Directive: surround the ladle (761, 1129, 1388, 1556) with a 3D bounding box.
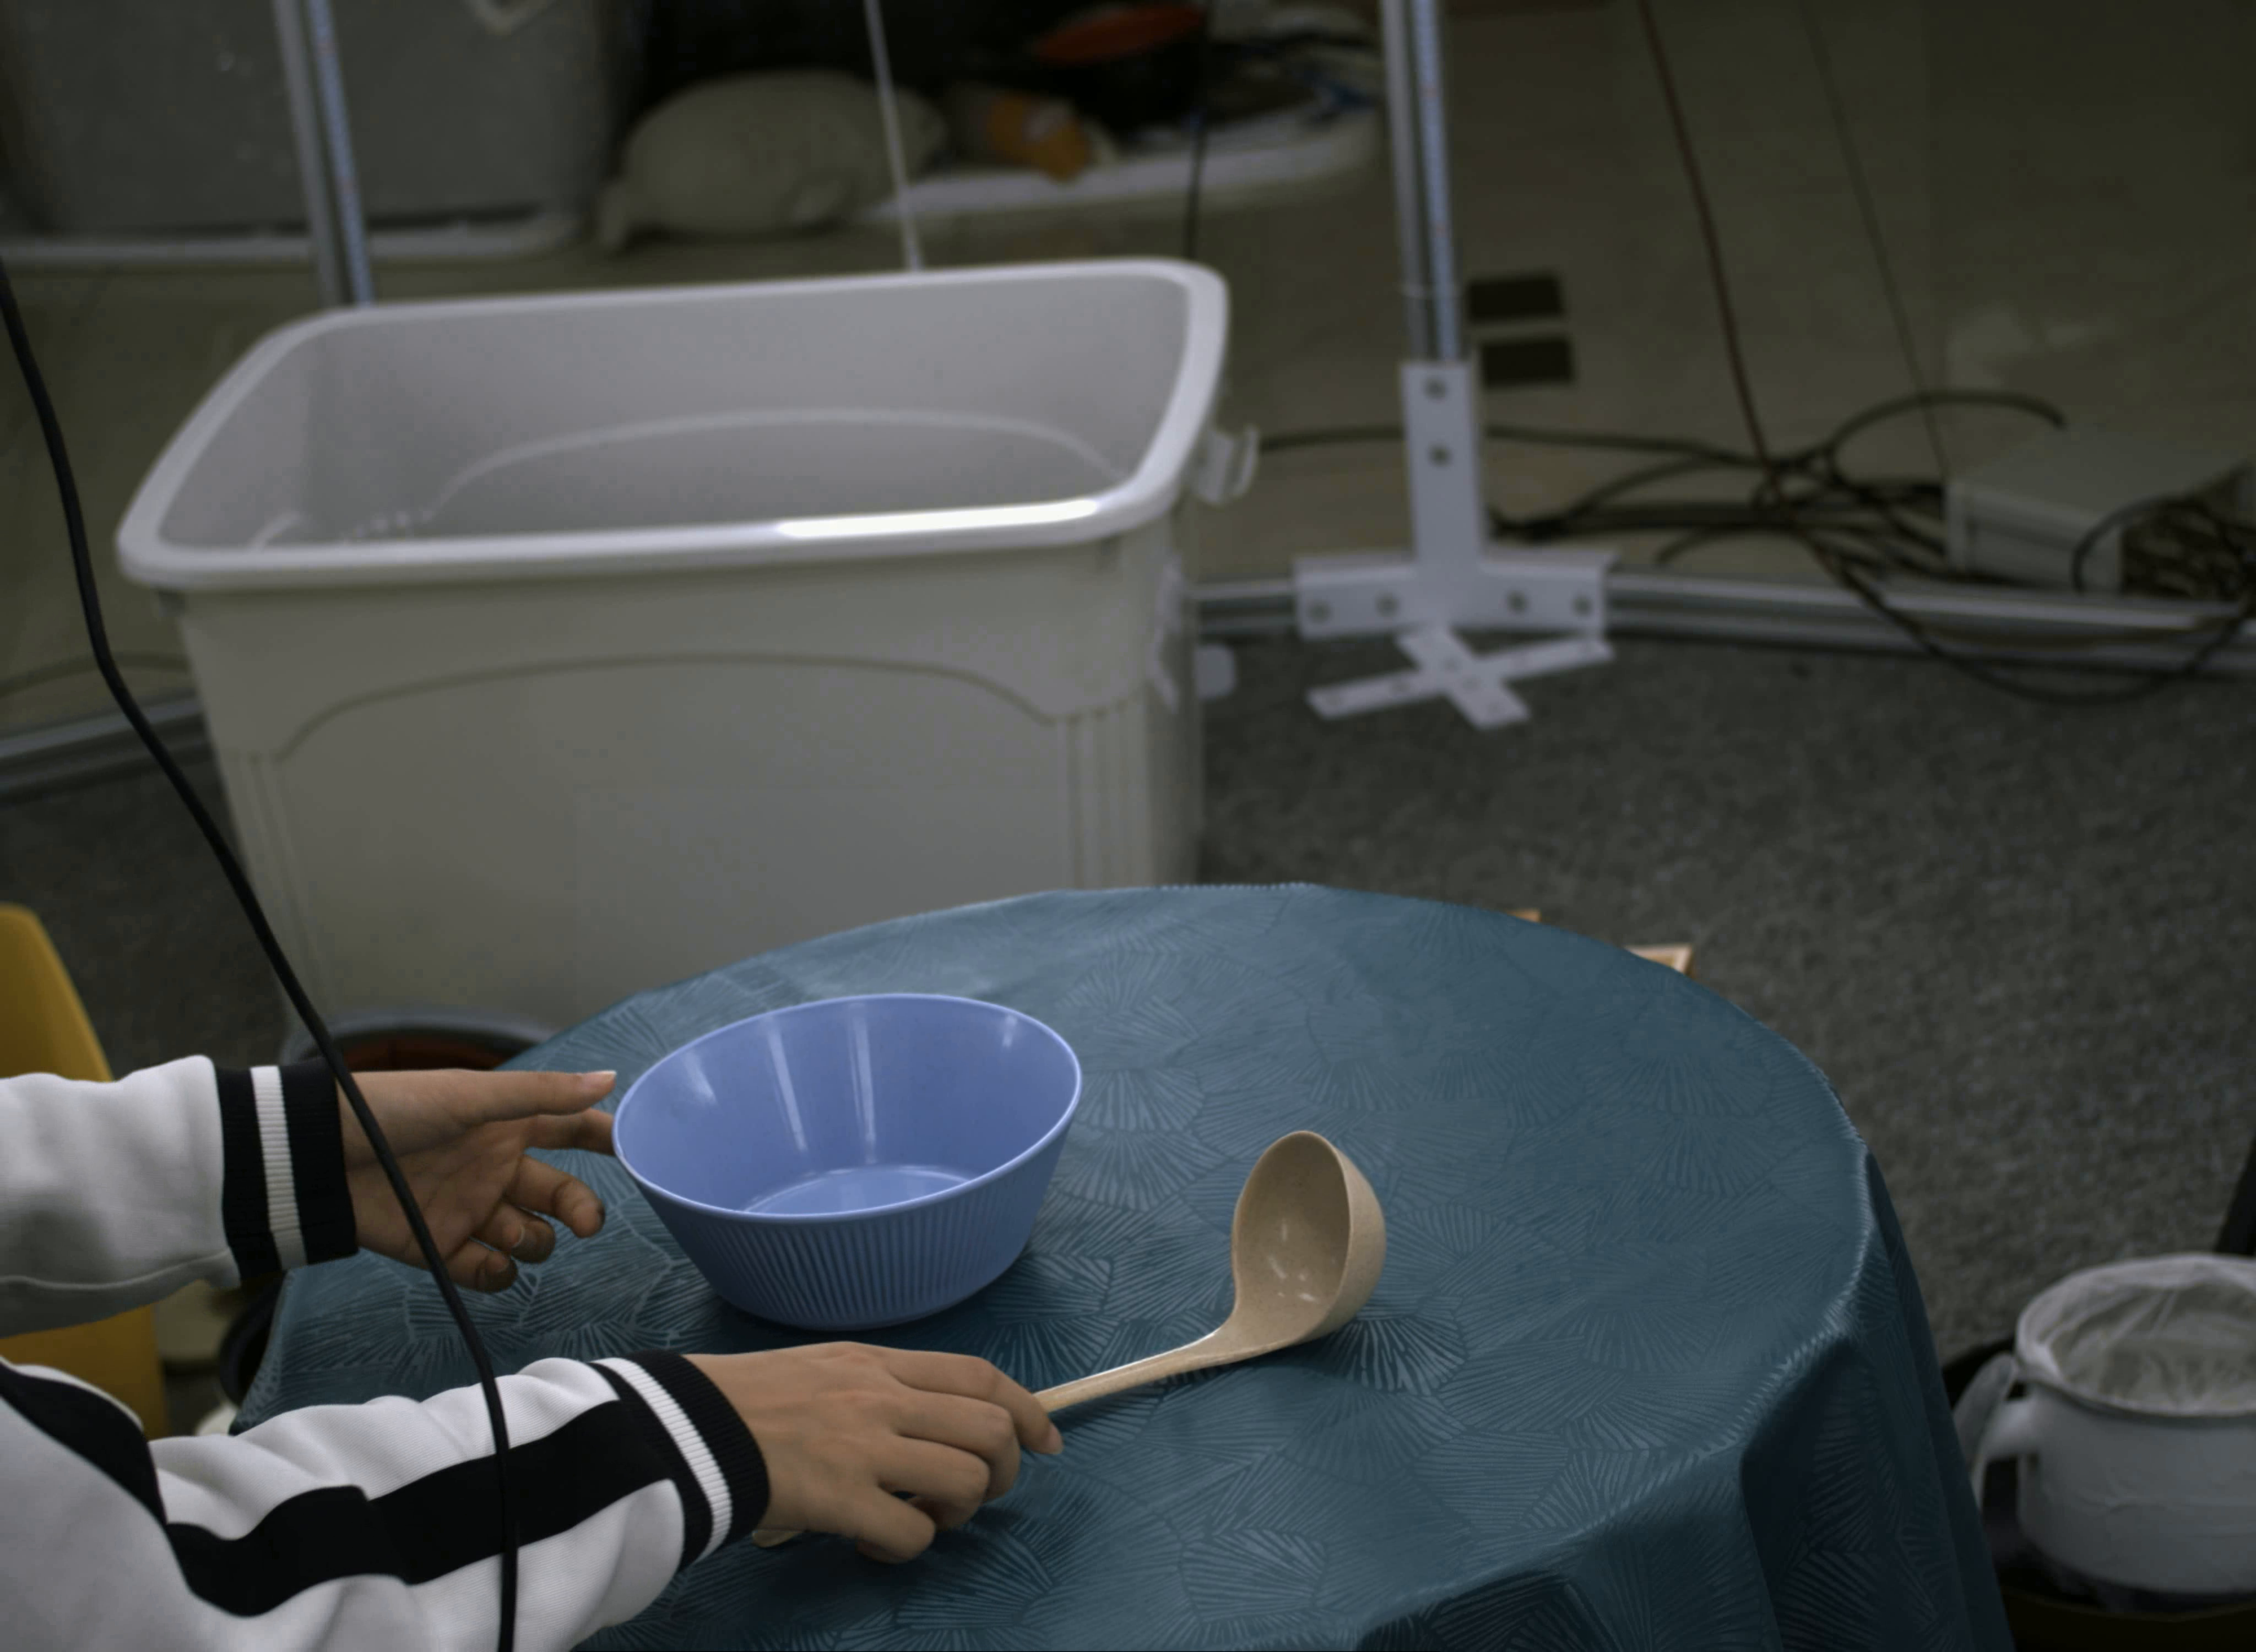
[{"bbox_3d":[-0.023,0.177,1.984,0.253,0.074,0.071,-20,27,-27],"label":"ladle"}]

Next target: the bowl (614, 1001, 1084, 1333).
[{"bbox_3d":[-0.100,0.132,2.105,0.176,0.071,0.173,-6,24,3],"label":"bowl"}]
